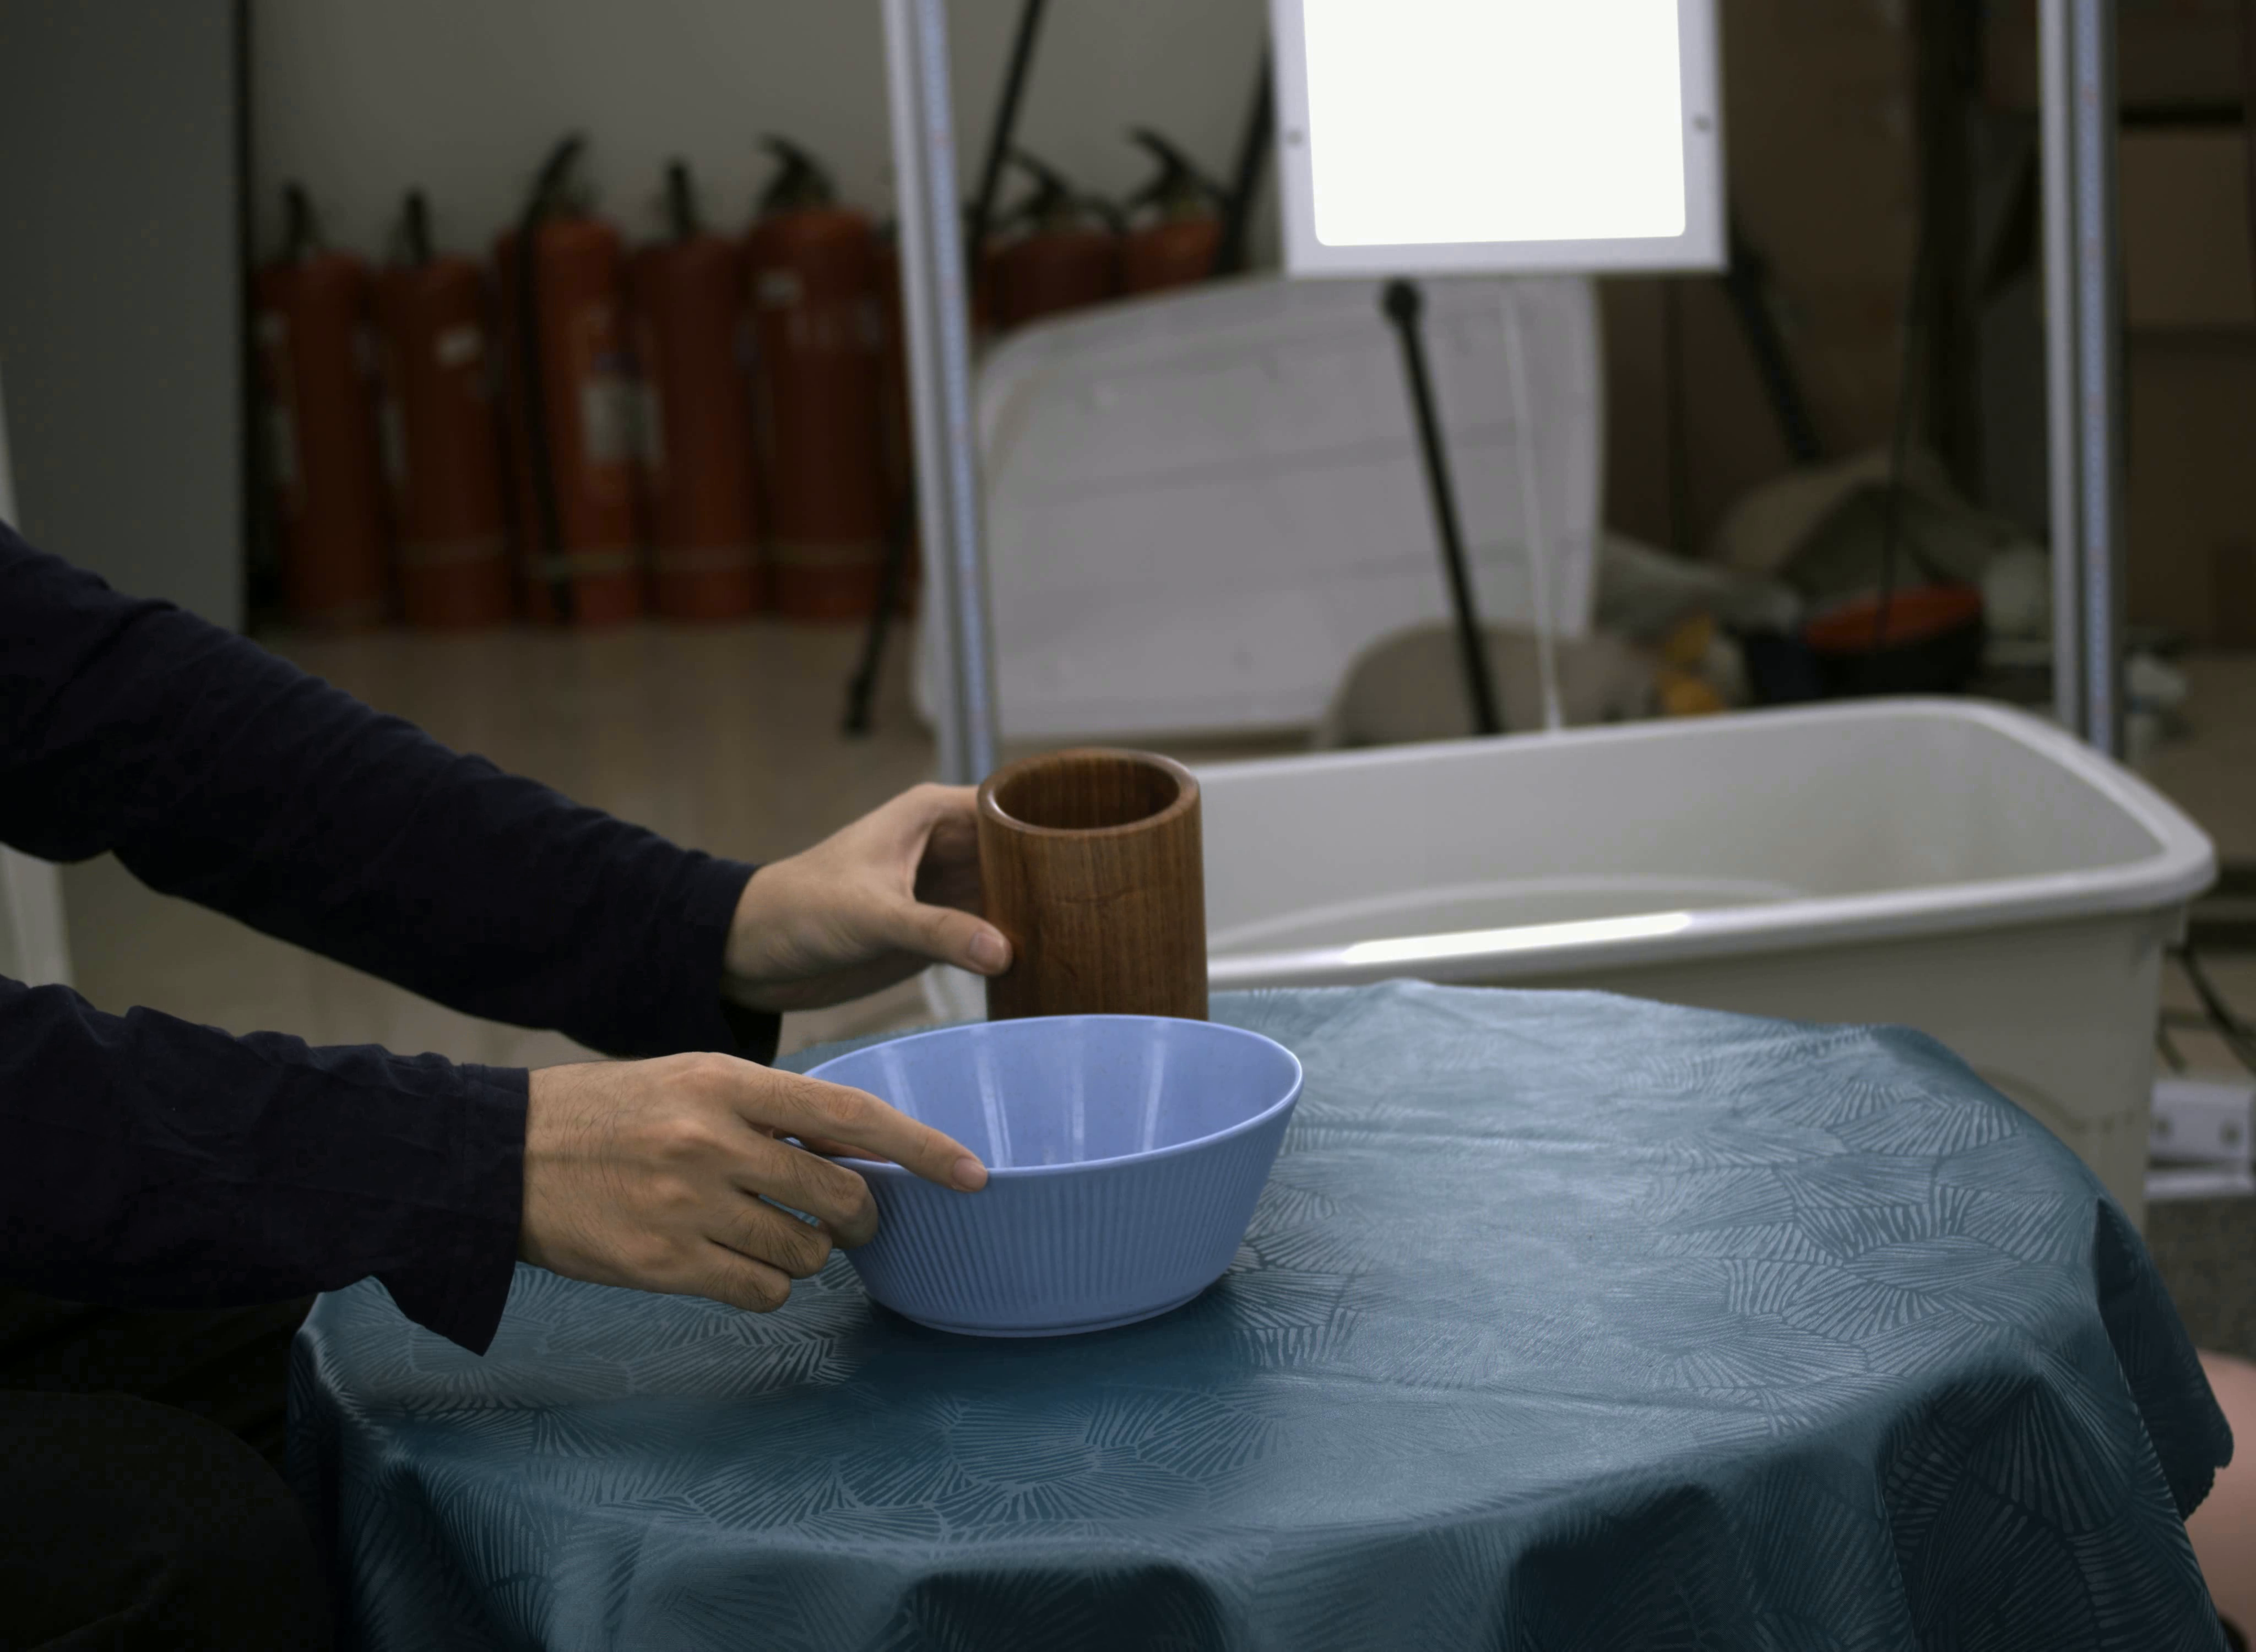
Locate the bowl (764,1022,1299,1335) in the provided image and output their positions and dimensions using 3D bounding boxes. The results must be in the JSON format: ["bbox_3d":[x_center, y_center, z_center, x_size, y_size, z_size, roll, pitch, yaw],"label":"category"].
[{"bbox_3d":[-0.029,0.117,1.799,0.175,0.070,0.176,-6,13,0],"label":"bowl"}]

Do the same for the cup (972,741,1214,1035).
[{"bbox_3d":[-0.011,0.039,1.943,0.087,0.119,0.087,-4,21,0],"label":"cup"}]
